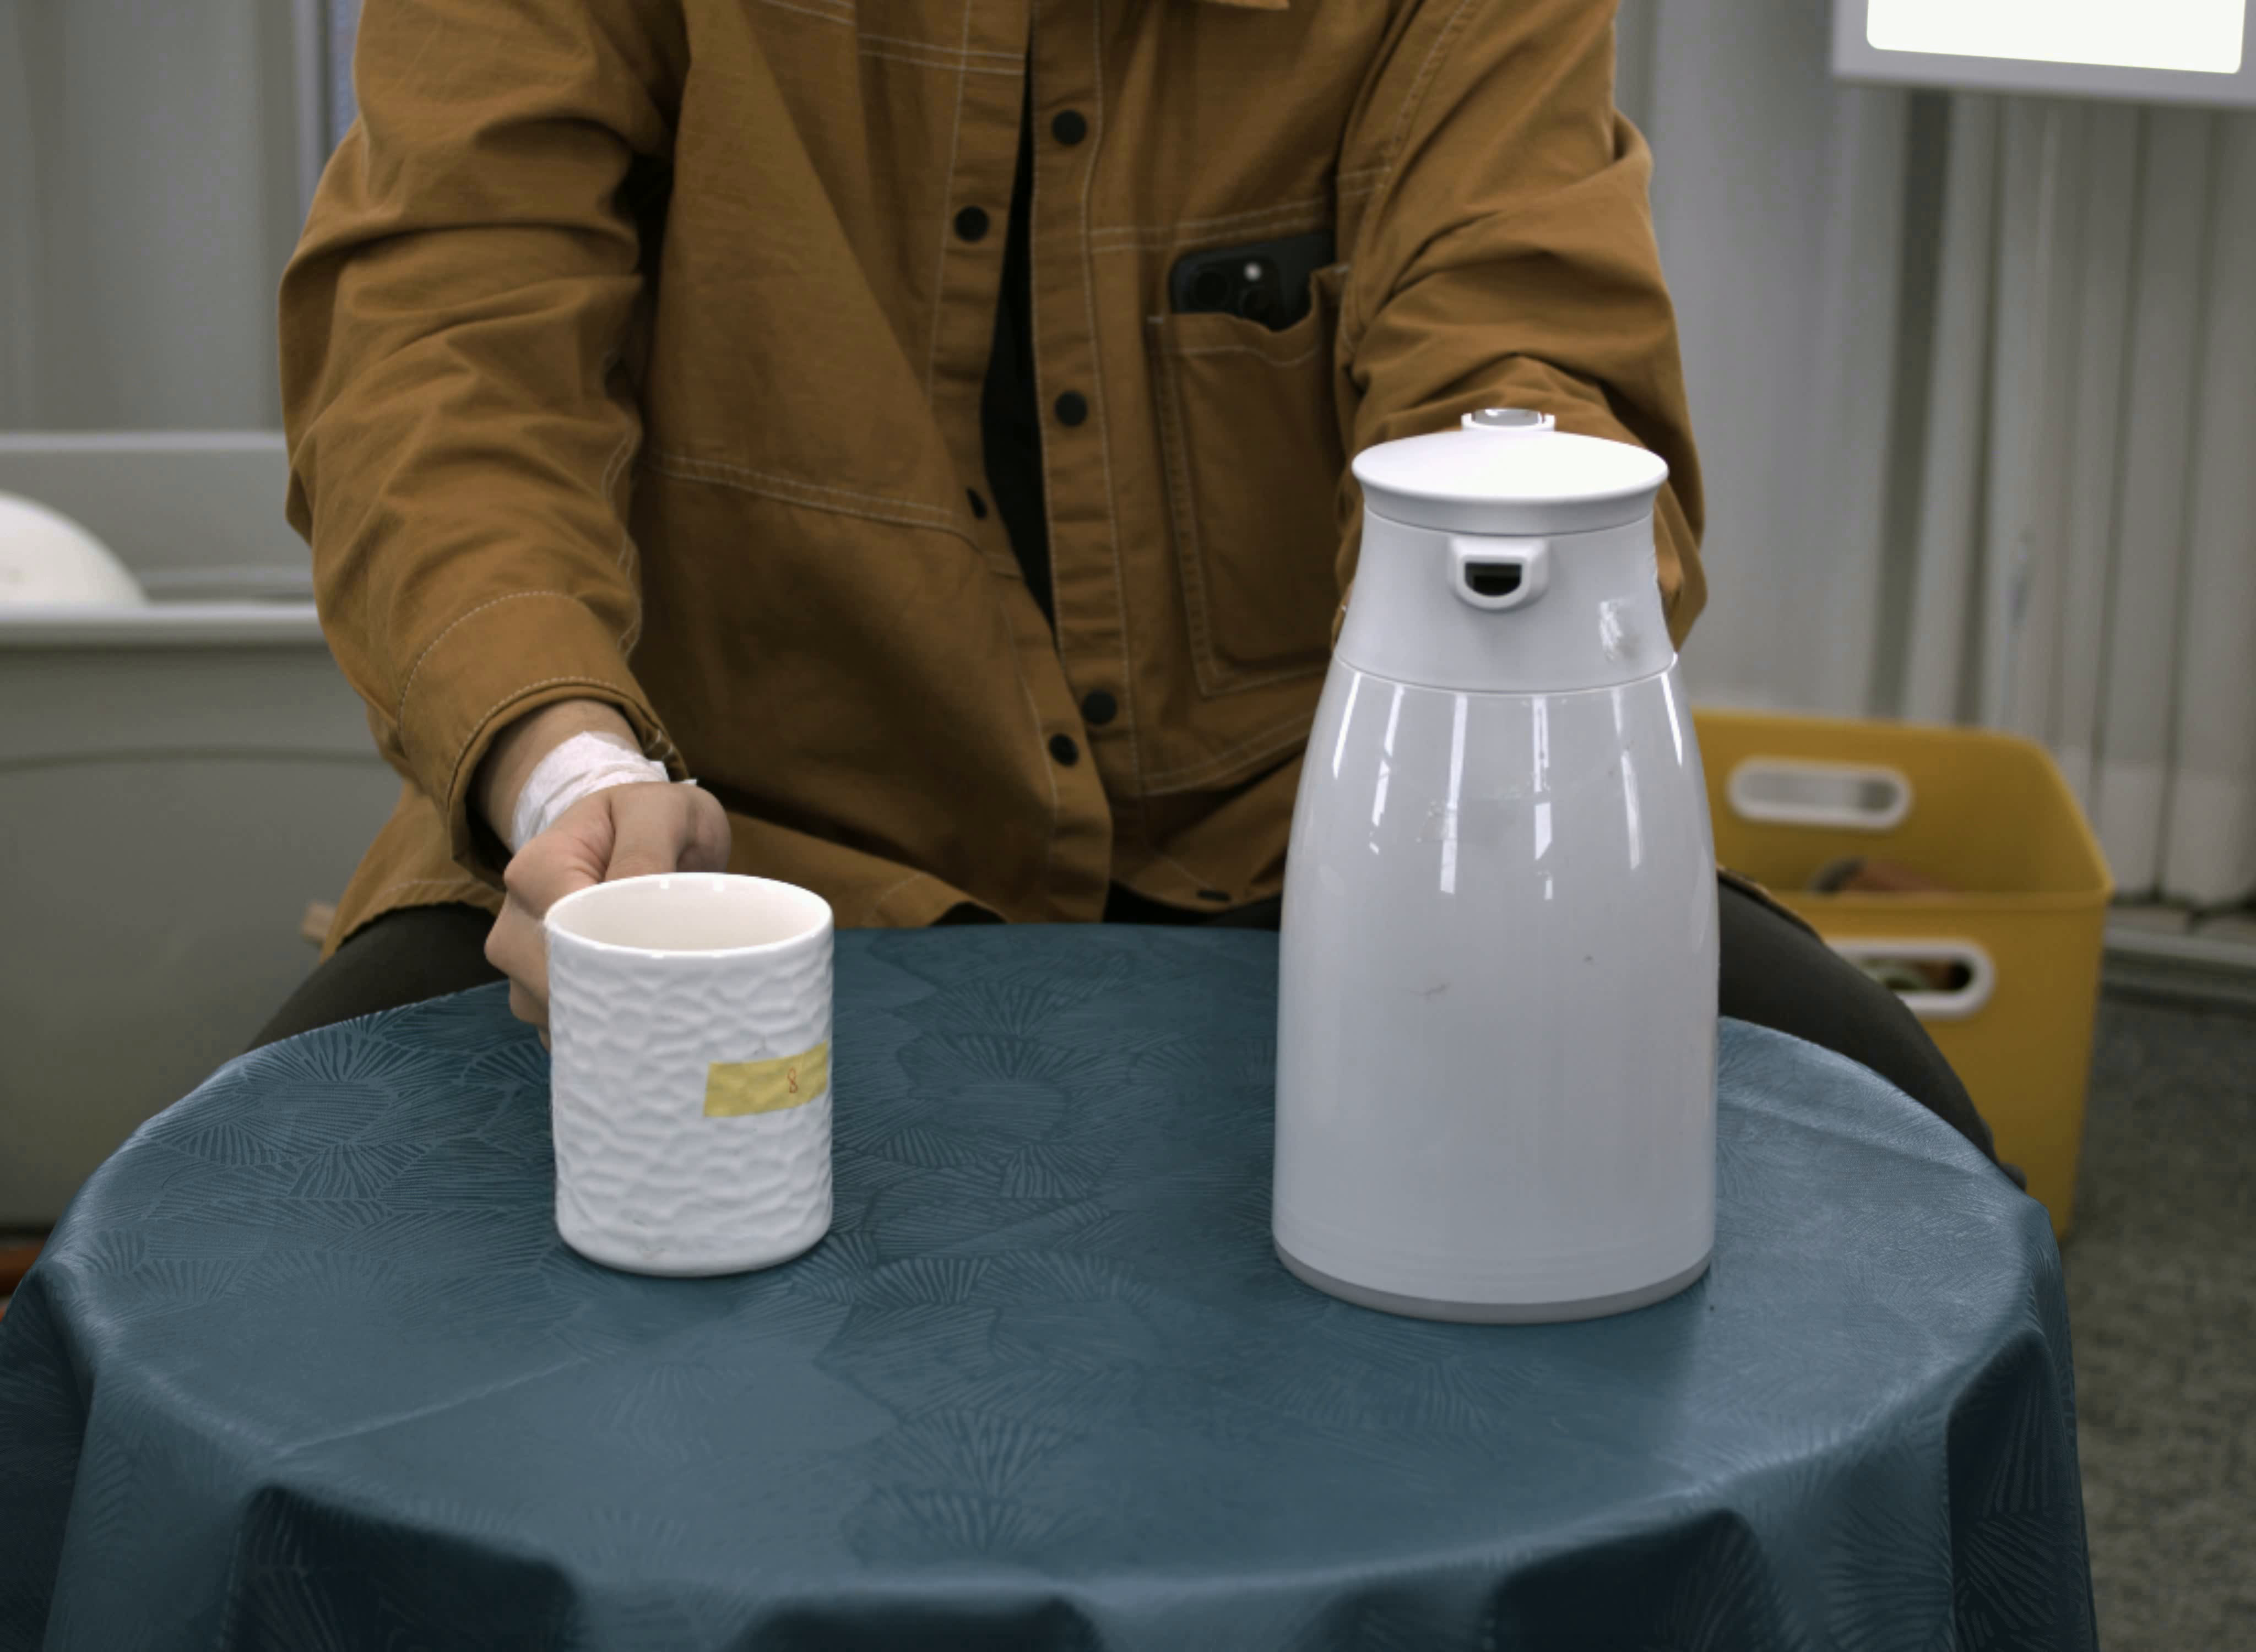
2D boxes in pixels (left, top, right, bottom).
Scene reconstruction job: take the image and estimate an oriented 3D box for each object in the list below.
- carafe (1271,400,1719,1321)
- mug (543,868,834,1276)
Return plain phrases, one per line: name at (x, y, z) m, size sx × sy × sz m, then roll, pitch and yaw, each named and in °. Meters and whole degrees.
carafe at (0.110, 0.001, 1.559) m, size 0.132 × 0.250 × 0.167 m, roll 1°, pitch 16°, yaw 5°
mug at (-0.136, 0.069, 1.580) m, size 0.085 × 0.103 × 0.117 m, roll -7°, pitch 18°, yaw -22°
